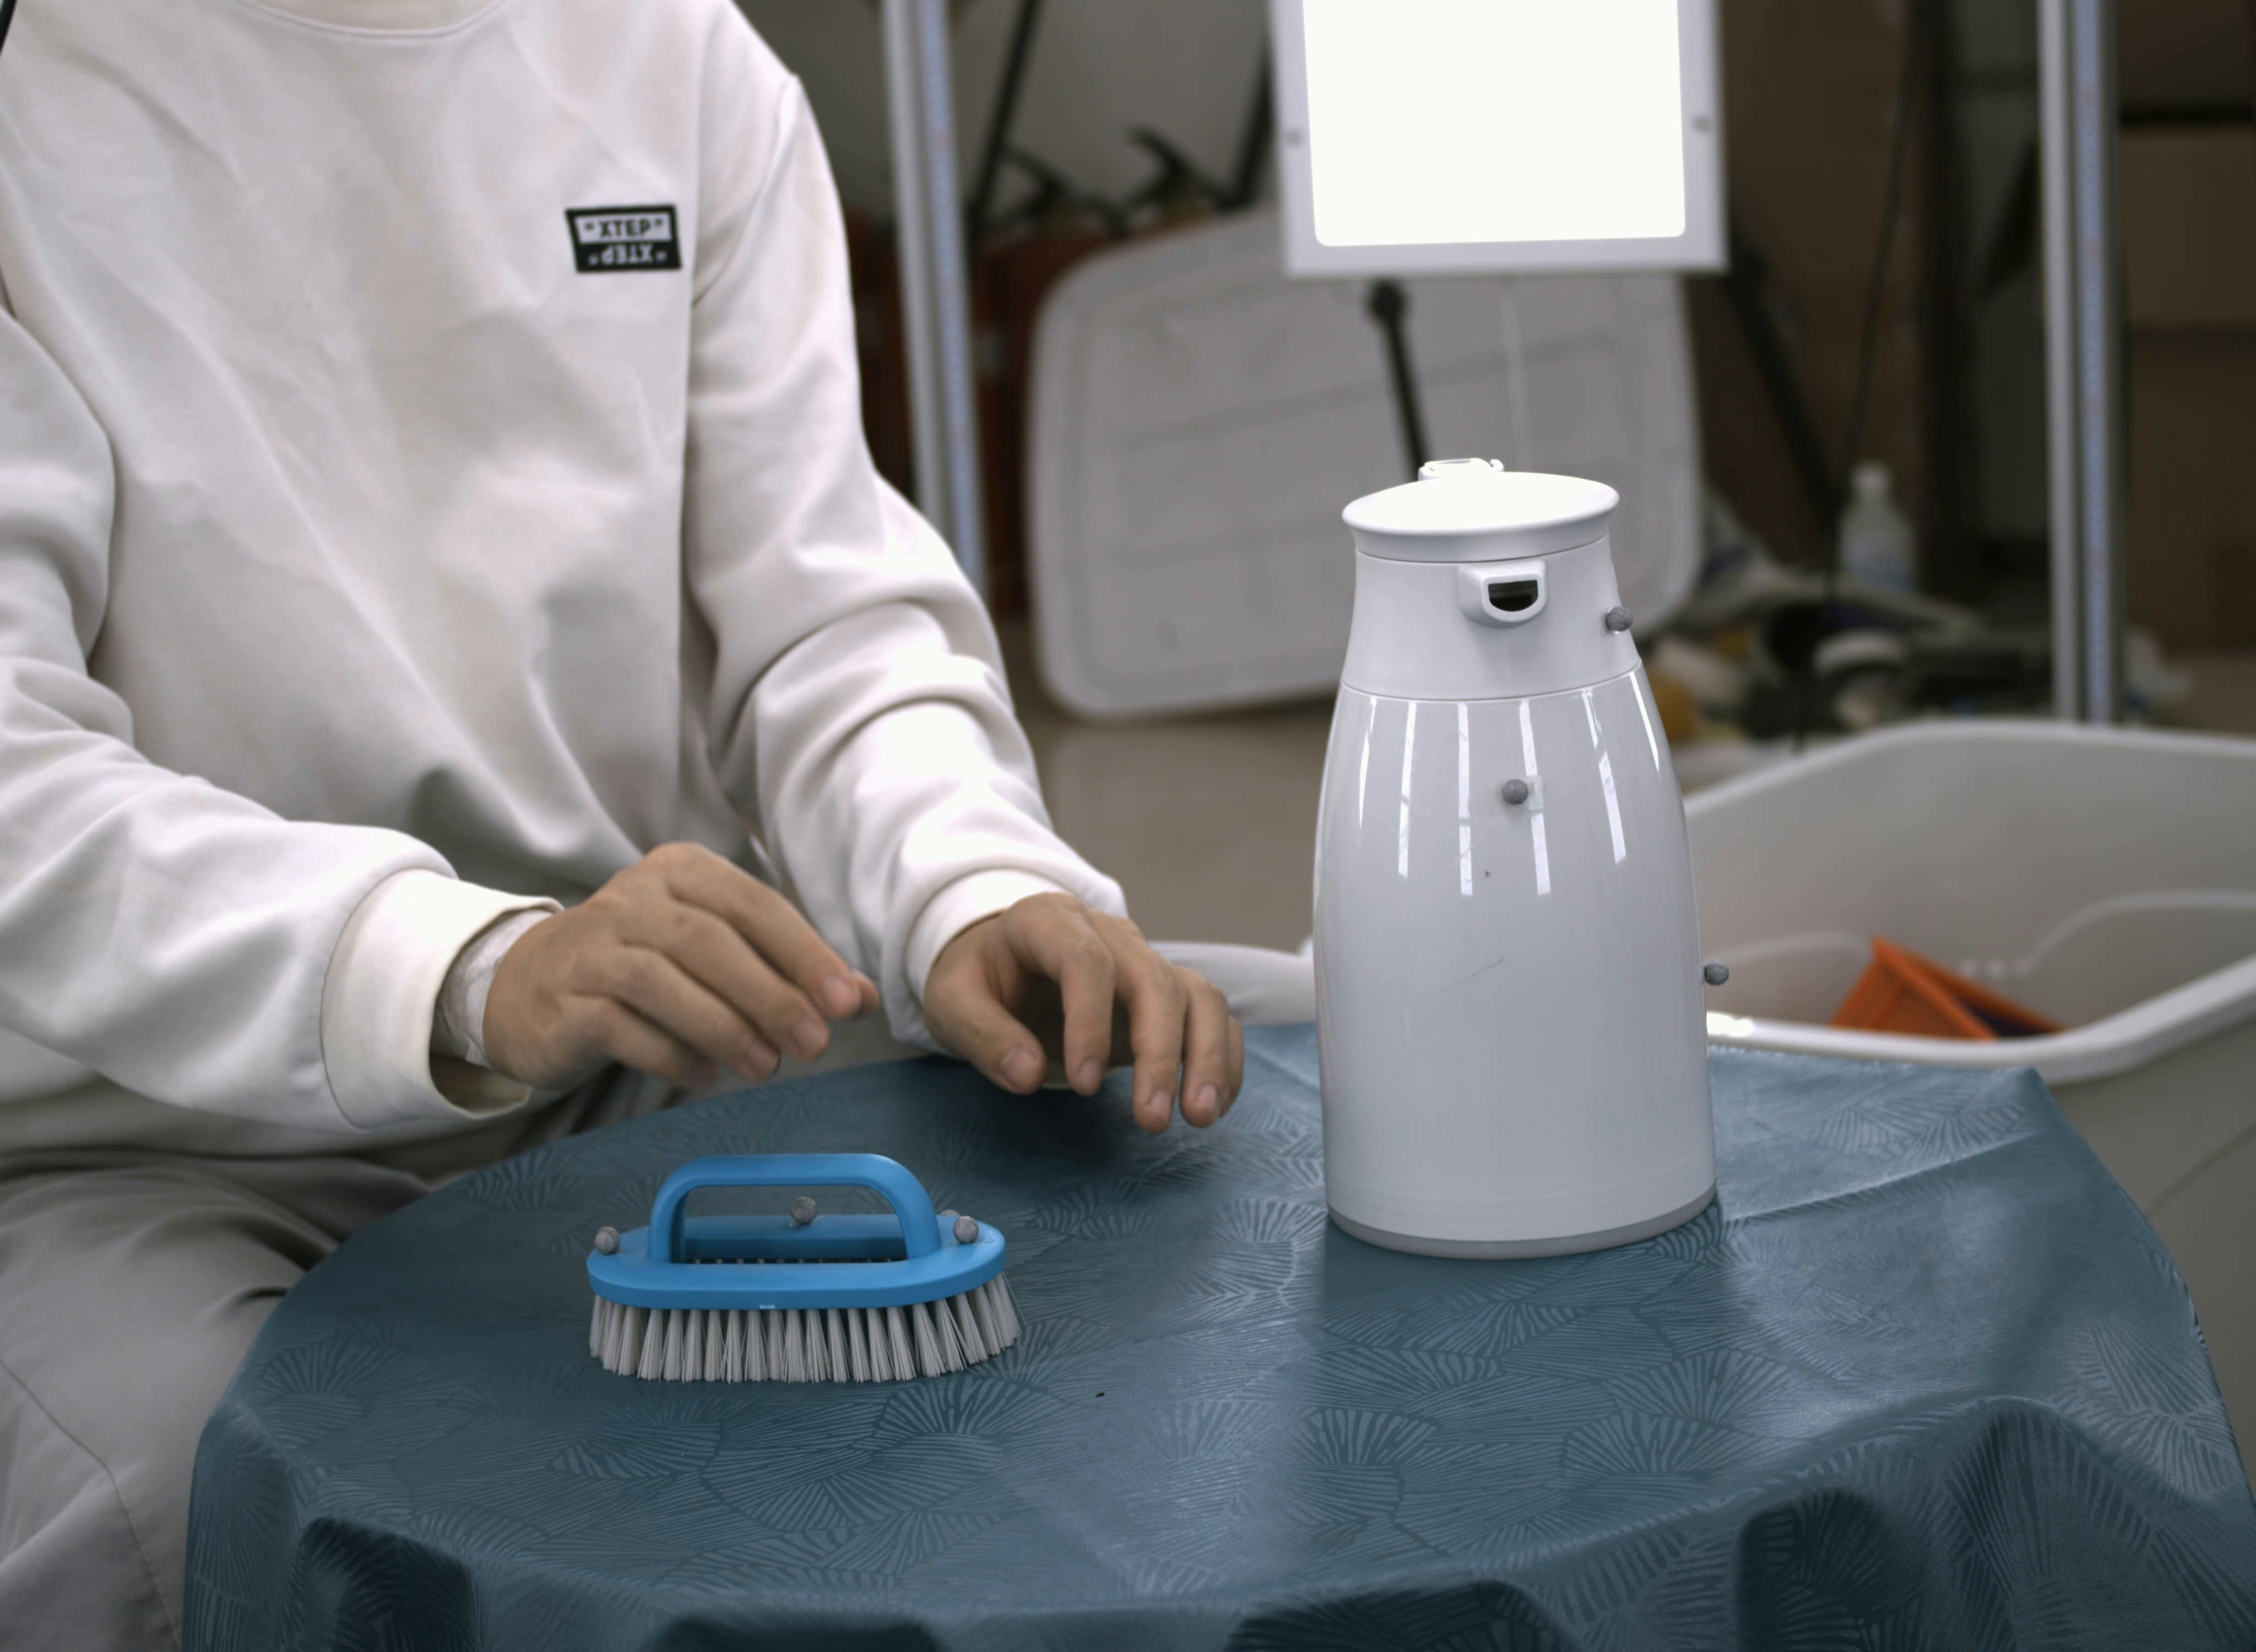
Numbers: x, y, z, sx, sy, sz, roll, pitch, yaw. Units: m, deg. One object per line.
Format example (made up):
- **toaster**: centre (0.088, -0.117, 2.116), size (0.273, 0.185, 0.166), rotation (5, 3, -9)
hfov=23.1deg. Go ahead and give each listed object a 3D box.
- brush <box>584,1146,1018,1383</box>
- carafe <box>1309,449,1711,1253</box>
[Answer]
- **brush**: centre (-0.108, 0.134, 1.766), size (0.143, 0.064, 0.083), rotation (-2, 18, 16)
- **carafe**: centre (0.120, 0.000, 1.843), size (0.132, 0.249, 0.168), rotation (-6, 13, -4)
